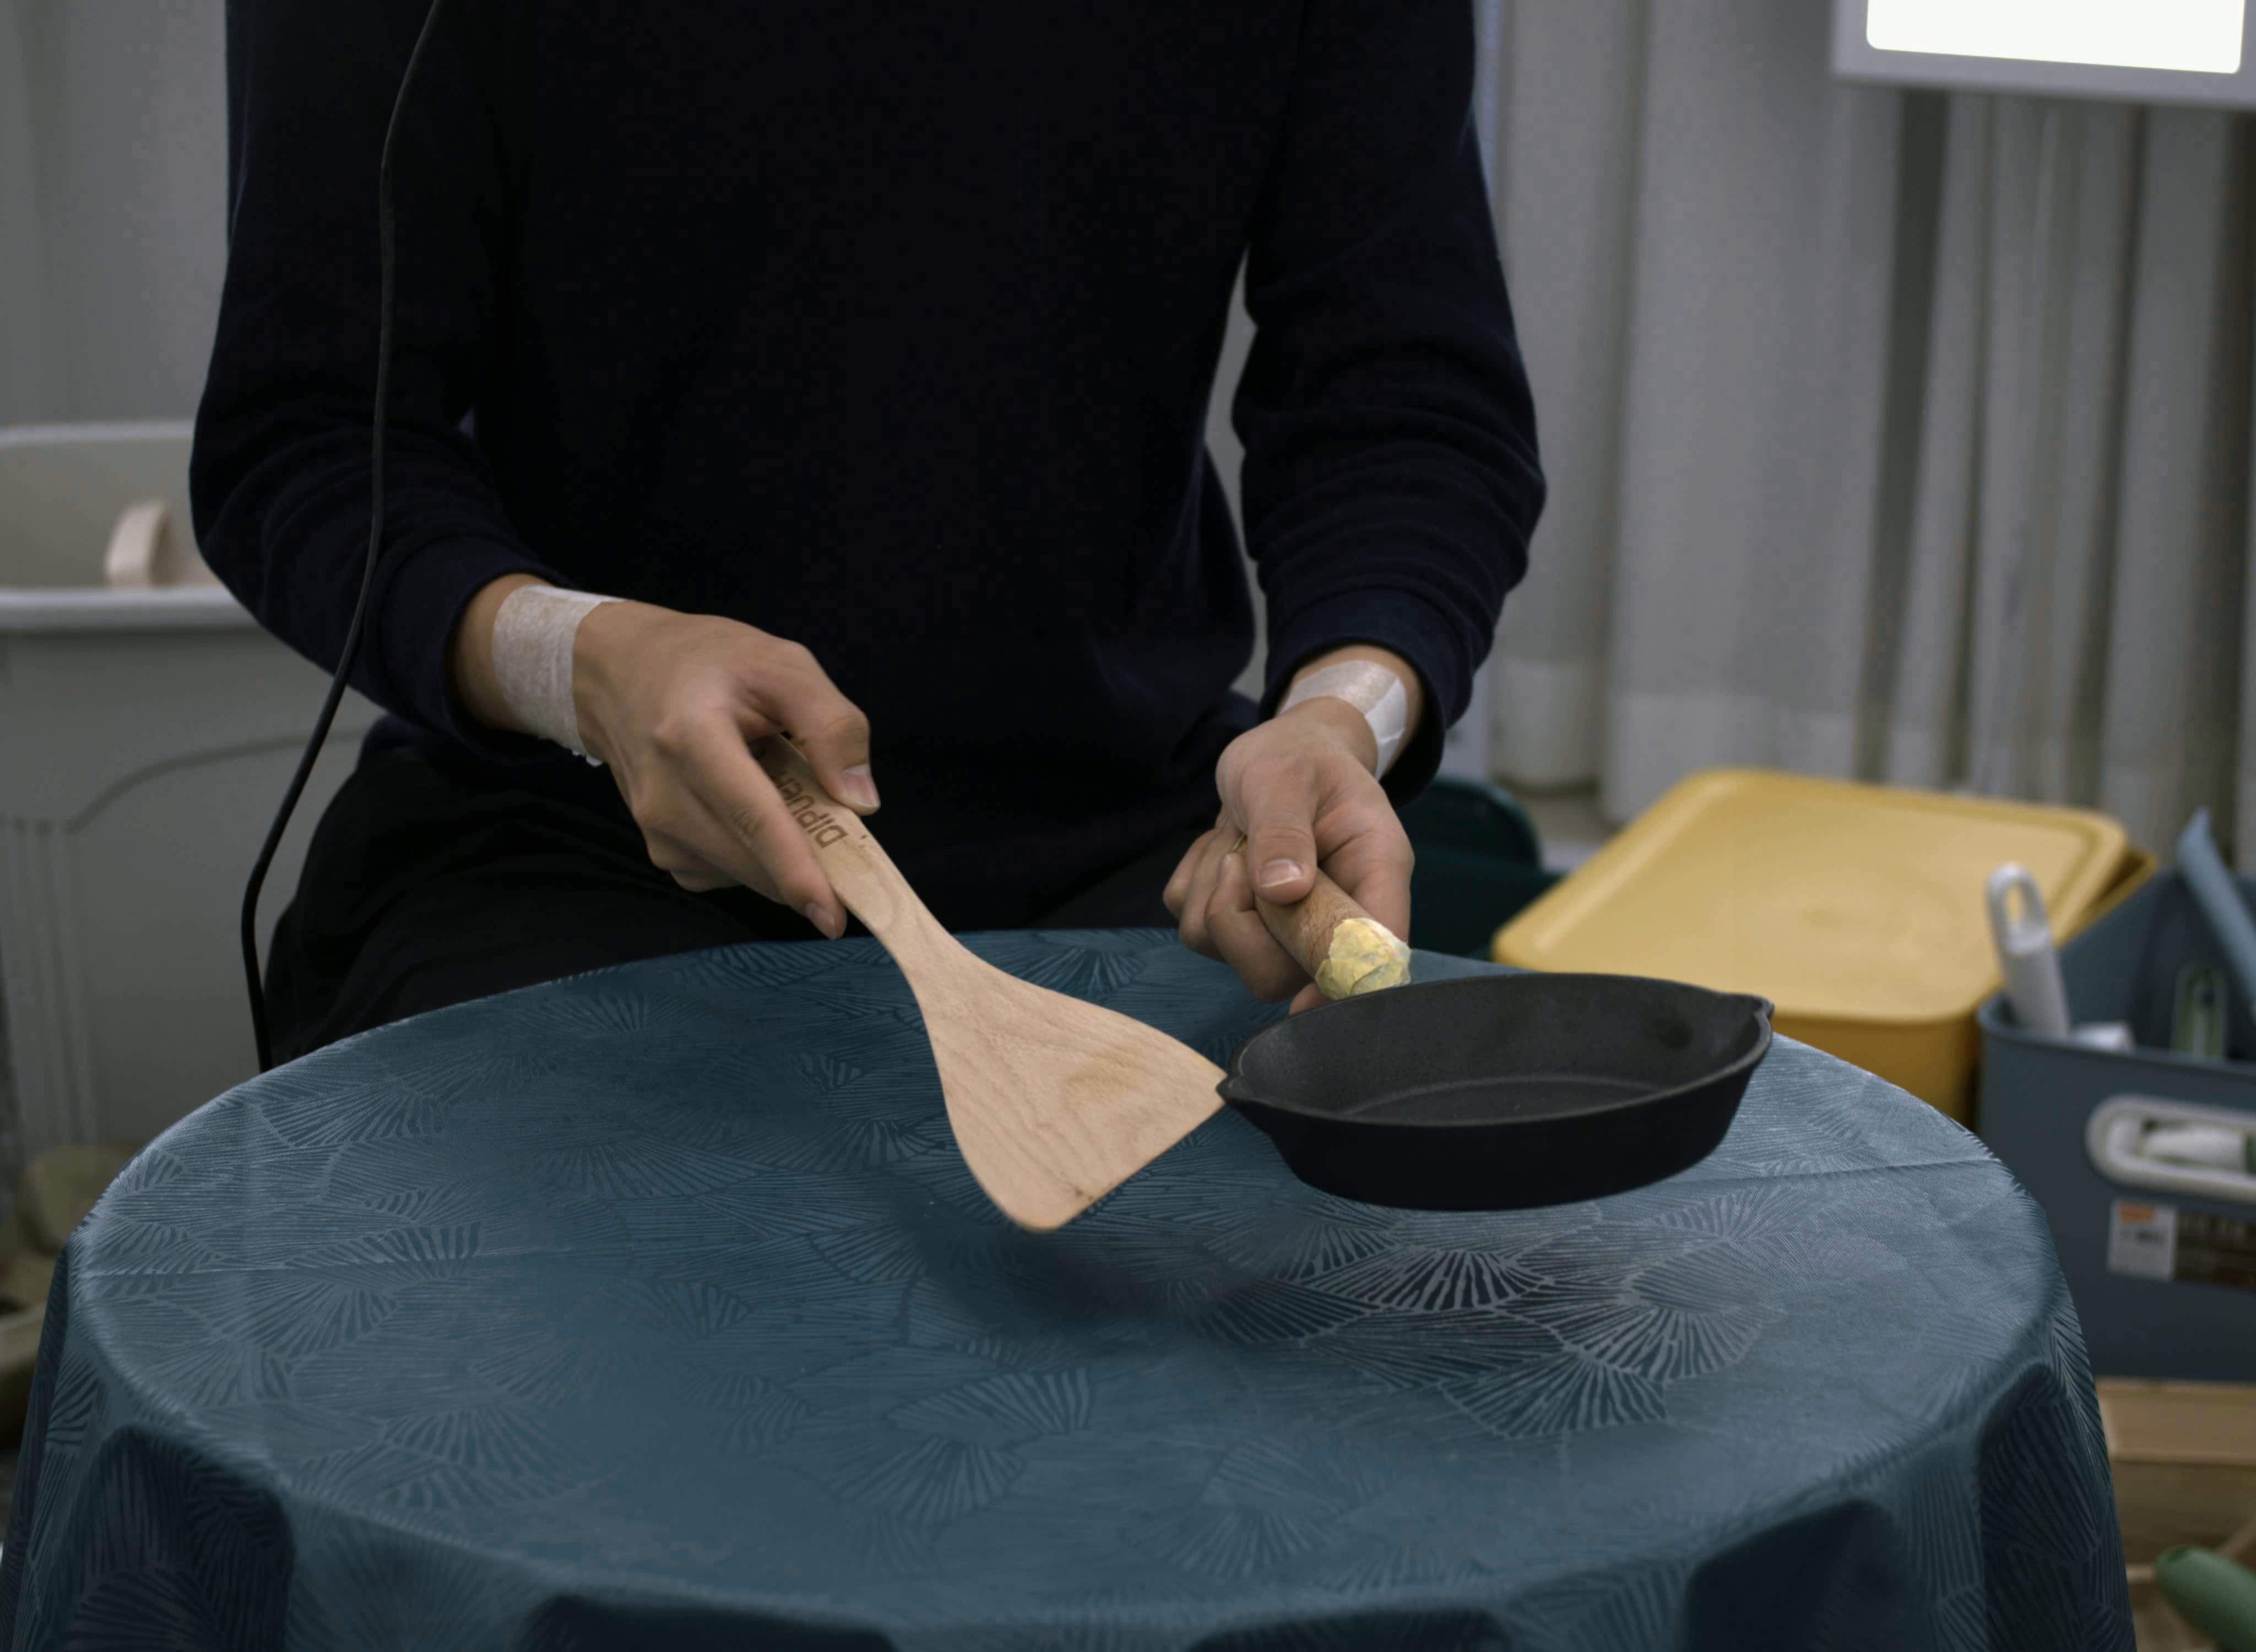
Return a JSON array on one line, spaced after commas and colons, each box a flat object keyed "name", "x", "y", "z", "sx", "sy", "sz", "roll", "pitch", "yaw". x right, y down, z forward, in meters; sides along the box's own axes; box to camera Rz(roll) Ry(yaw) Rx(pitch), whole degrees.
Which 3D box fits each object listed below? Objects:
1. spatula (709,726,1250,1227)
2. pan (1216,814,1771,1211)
[{"name": "spatula", "x": -0.061, "y": 0.035, "z": 1.626, "sx": 0.080, "sy": 0.017, "sz": 0.323, "roll": -27, "pitch": 35, "yaw": -15}, {"name": "pan", "x": 0.085, "y": 0.052, "z": 1.599, "sx": 0.169, "sy": 0.050, "sz": 0.321, "roll": -9, "pitch": 15, "yaw": -13}]
